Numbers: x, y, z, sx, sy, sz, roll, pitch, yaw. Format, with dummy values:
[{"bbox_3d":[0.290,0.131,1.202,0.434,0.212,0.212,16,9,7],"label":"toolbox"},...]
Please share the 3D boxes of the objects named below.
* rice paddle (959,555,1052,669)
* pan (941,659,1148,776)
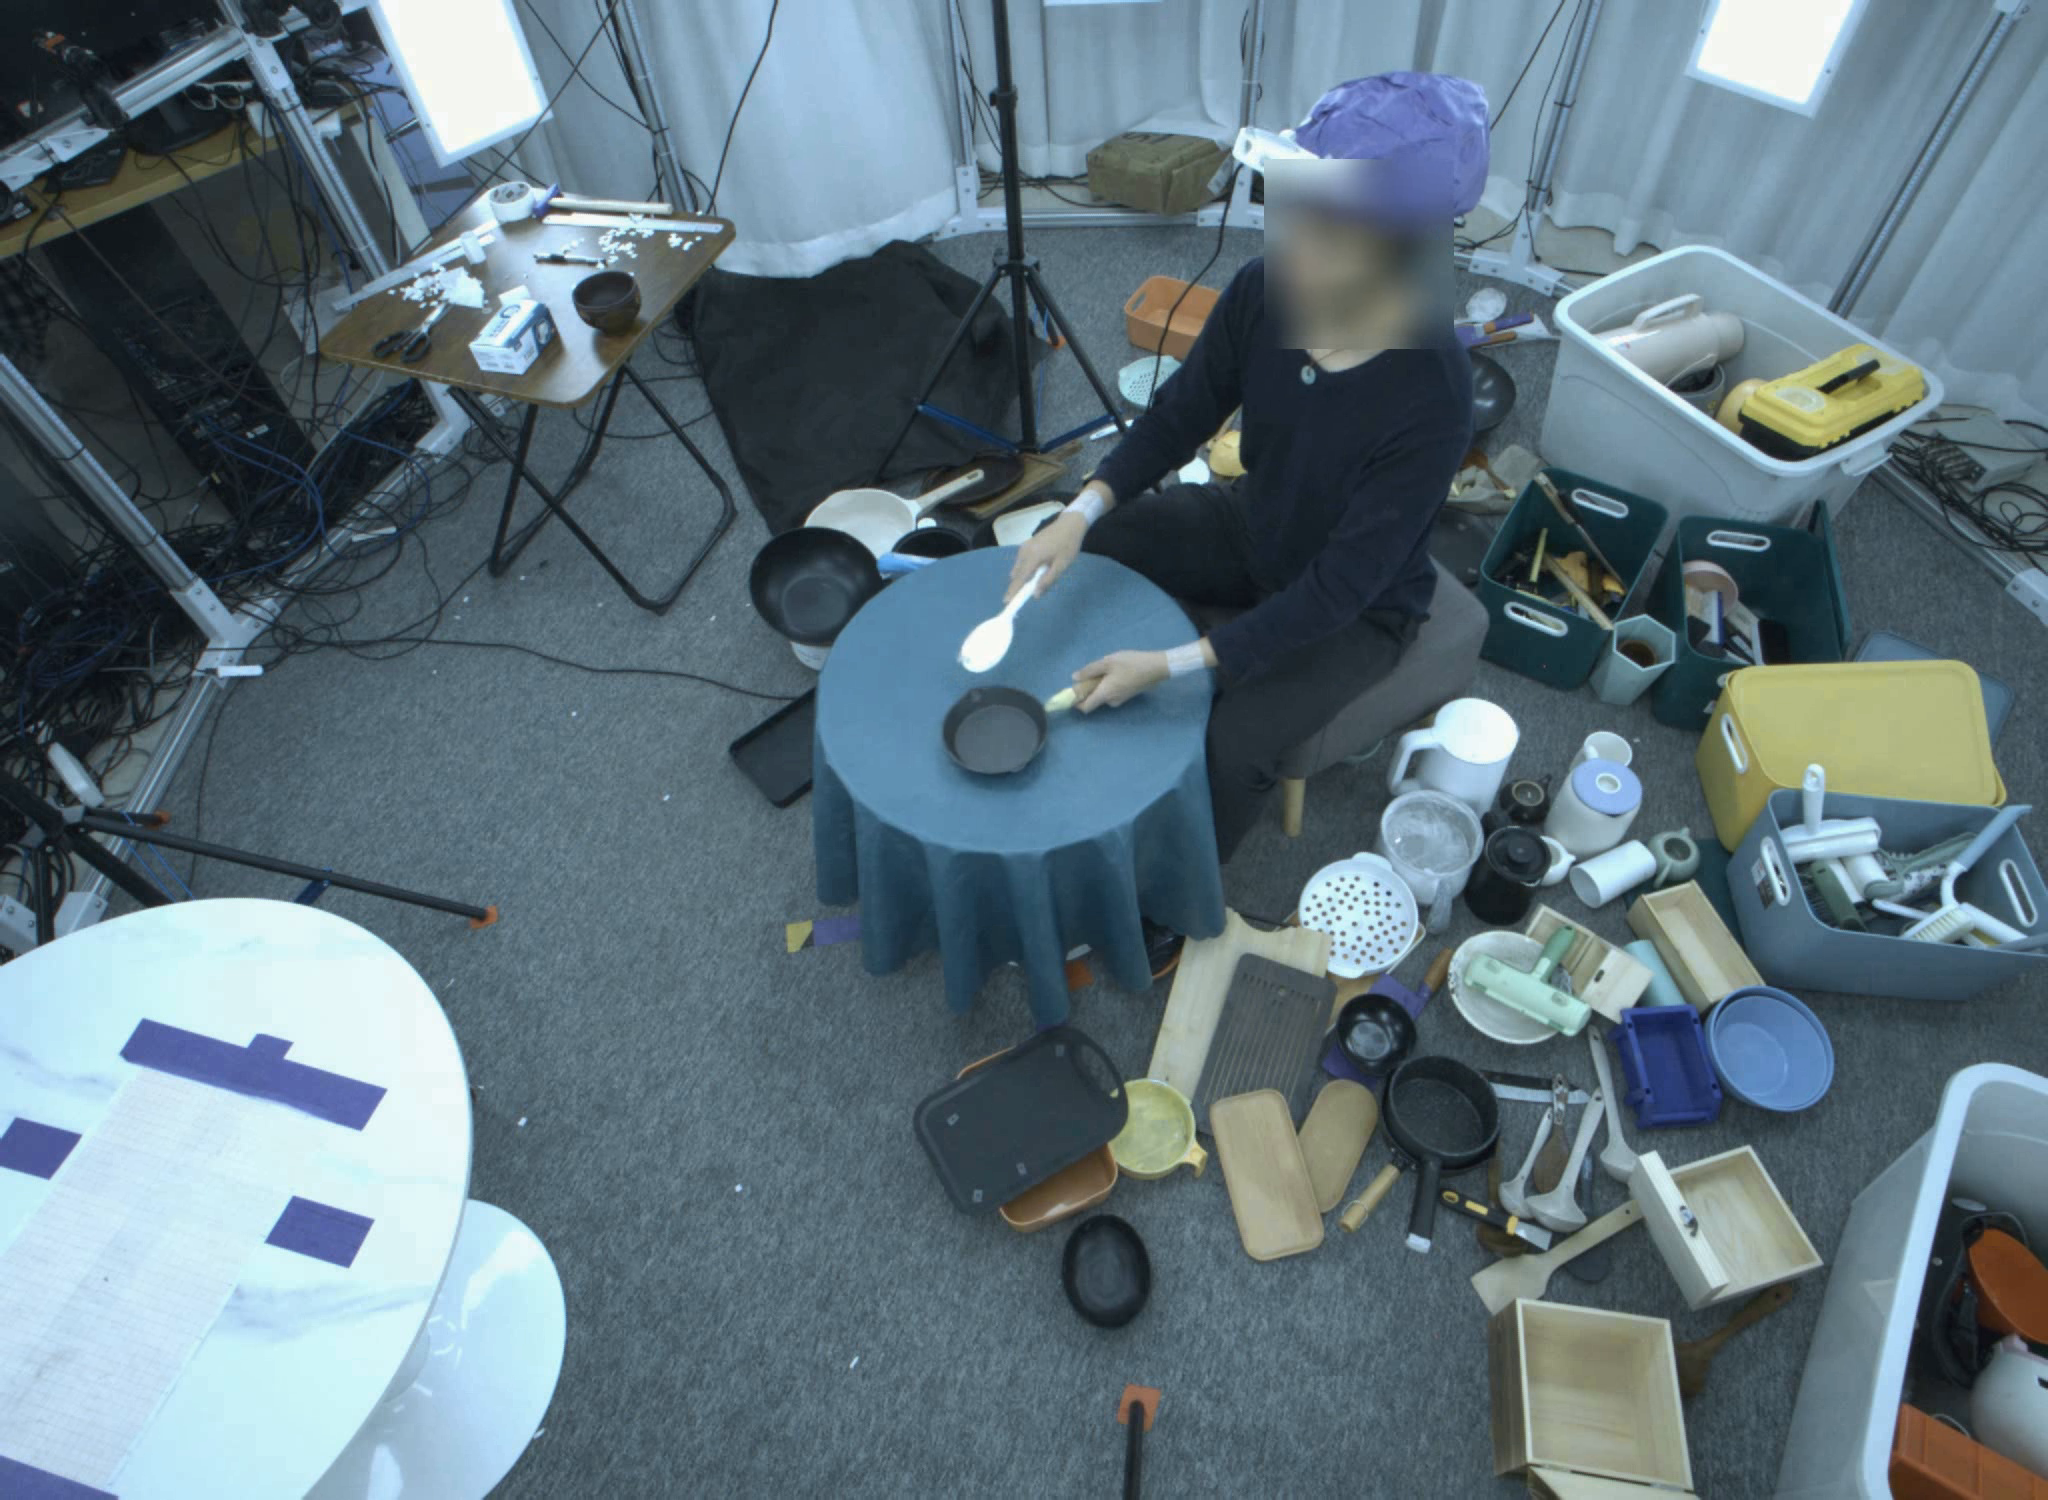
[{"bbox_3d":[-0.028,-0.203,1.821,0.067,0.030,0.205,27,73,32],"label":"rice paddle"},{"bbox_3d":[0.036,-0.059,1.793,0.326,0.050,0.166,-22,57,-10],"label":"pan"}]
